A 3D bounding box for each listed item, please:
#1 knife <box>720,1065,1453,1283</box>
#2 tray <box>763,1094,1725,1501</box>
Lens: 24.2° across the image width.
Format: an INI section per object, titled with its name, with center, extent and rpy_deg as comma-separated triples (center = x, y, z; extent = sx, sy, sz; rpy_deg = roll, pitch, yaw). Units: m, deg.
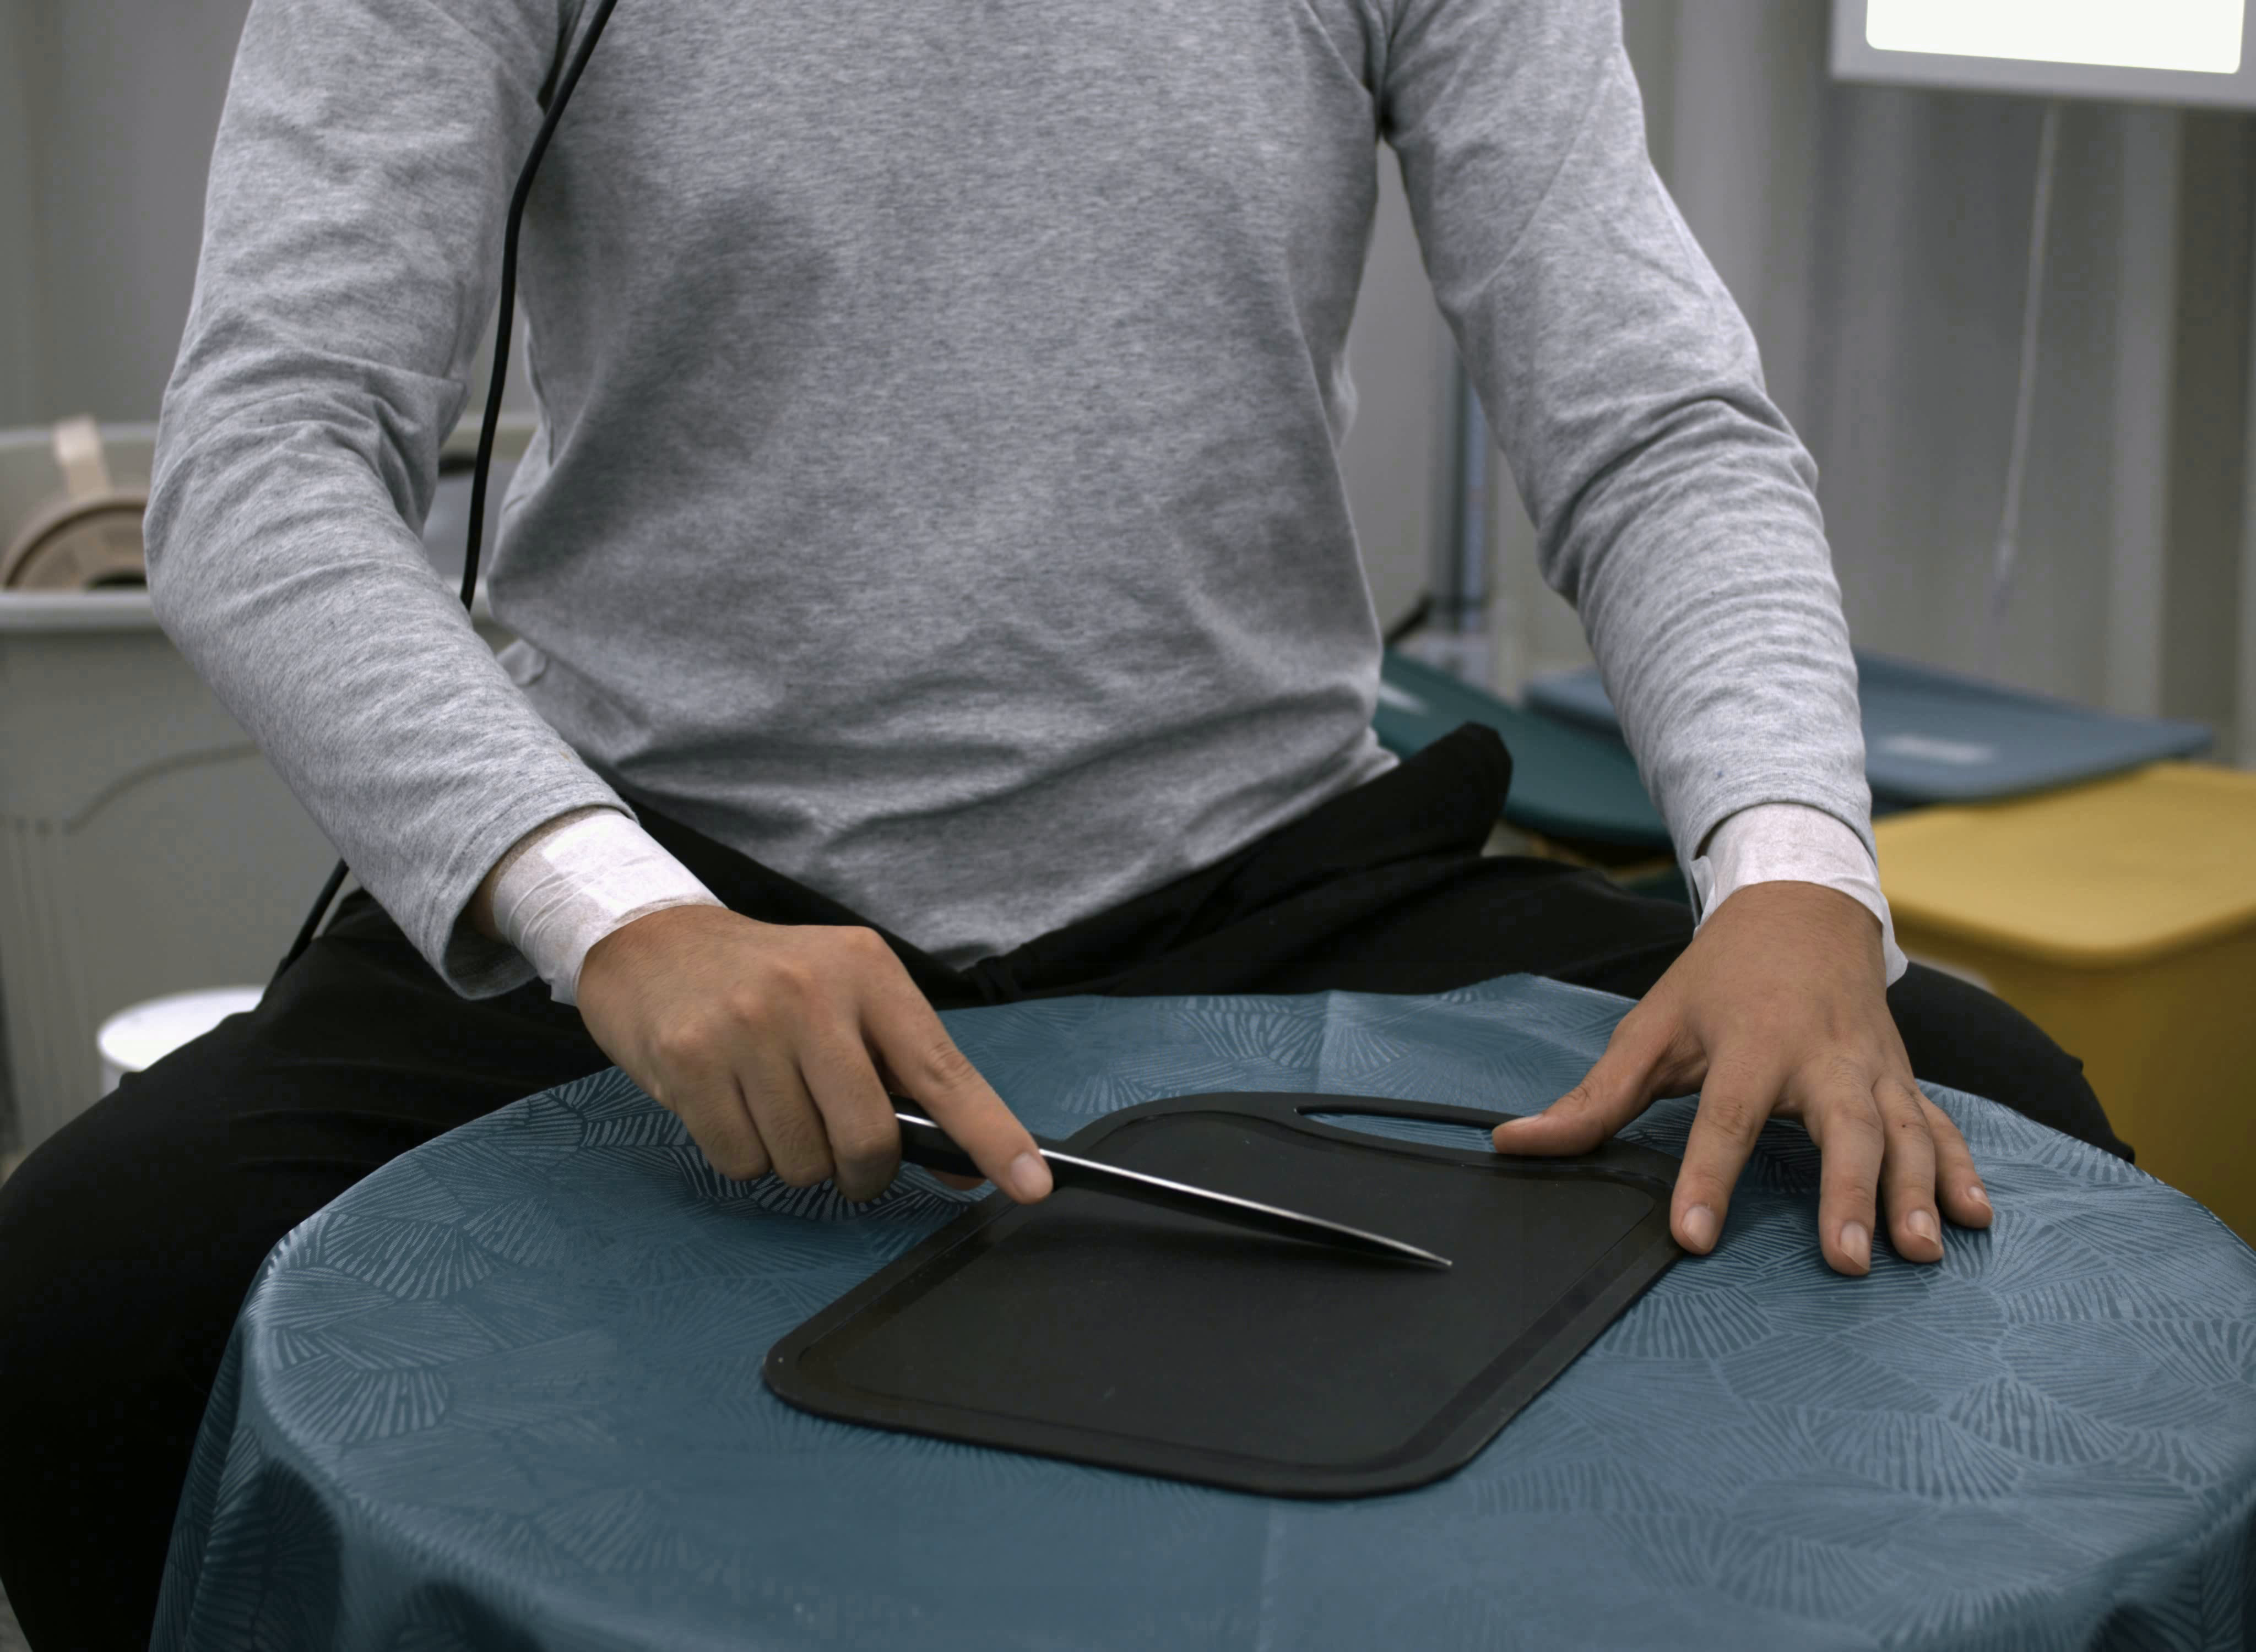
[knife]
center = -0.015, 0.106, 1.583
extent = 0.236, 0.016, 0.025
rpy_deg = 14, -19, 15
[tray]
center = 0.044, 0.129, 1.555
extent = 0.209, 0.010, 0.326
rpy_deg = 8, 17, 23
